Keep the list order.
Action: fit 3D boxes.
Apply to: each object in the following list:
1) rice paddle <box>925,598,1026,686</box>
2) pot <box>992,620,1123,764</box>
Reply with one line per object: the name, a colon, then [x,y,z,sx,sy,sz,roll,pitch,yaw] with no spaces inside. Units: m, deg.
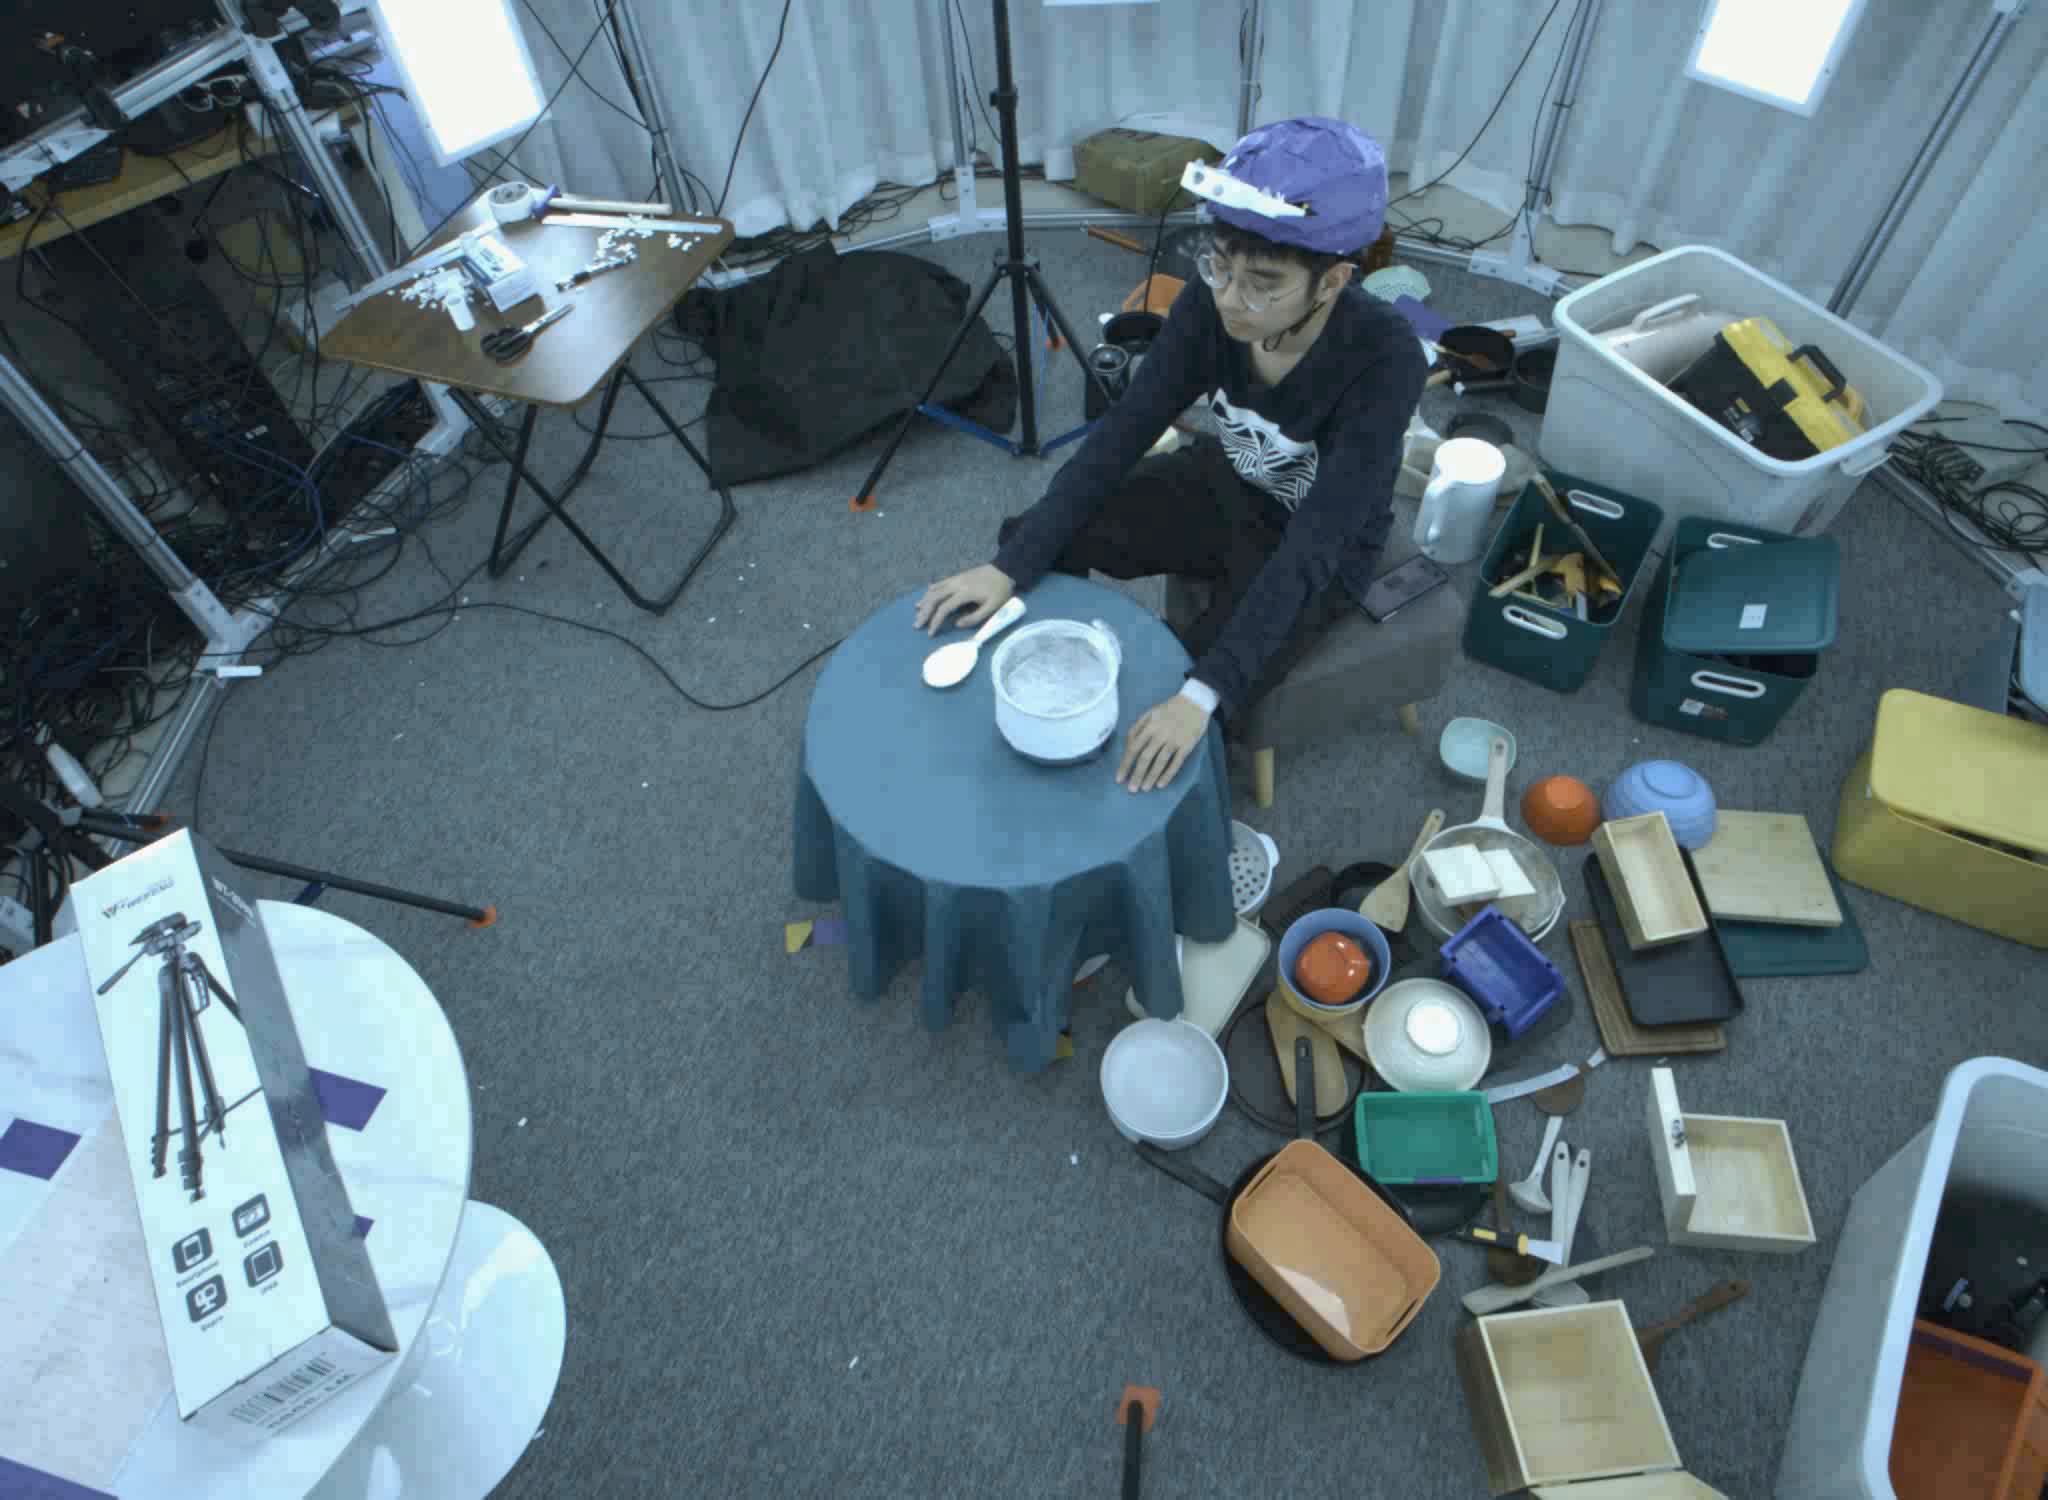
rice paddle: [-0.074,-0.166,1.898,0.067,0.030,0.206,33,61,25]
pot: [0.063,-0.097,1.778,0.176,0.138,0.235,32,62,20]
